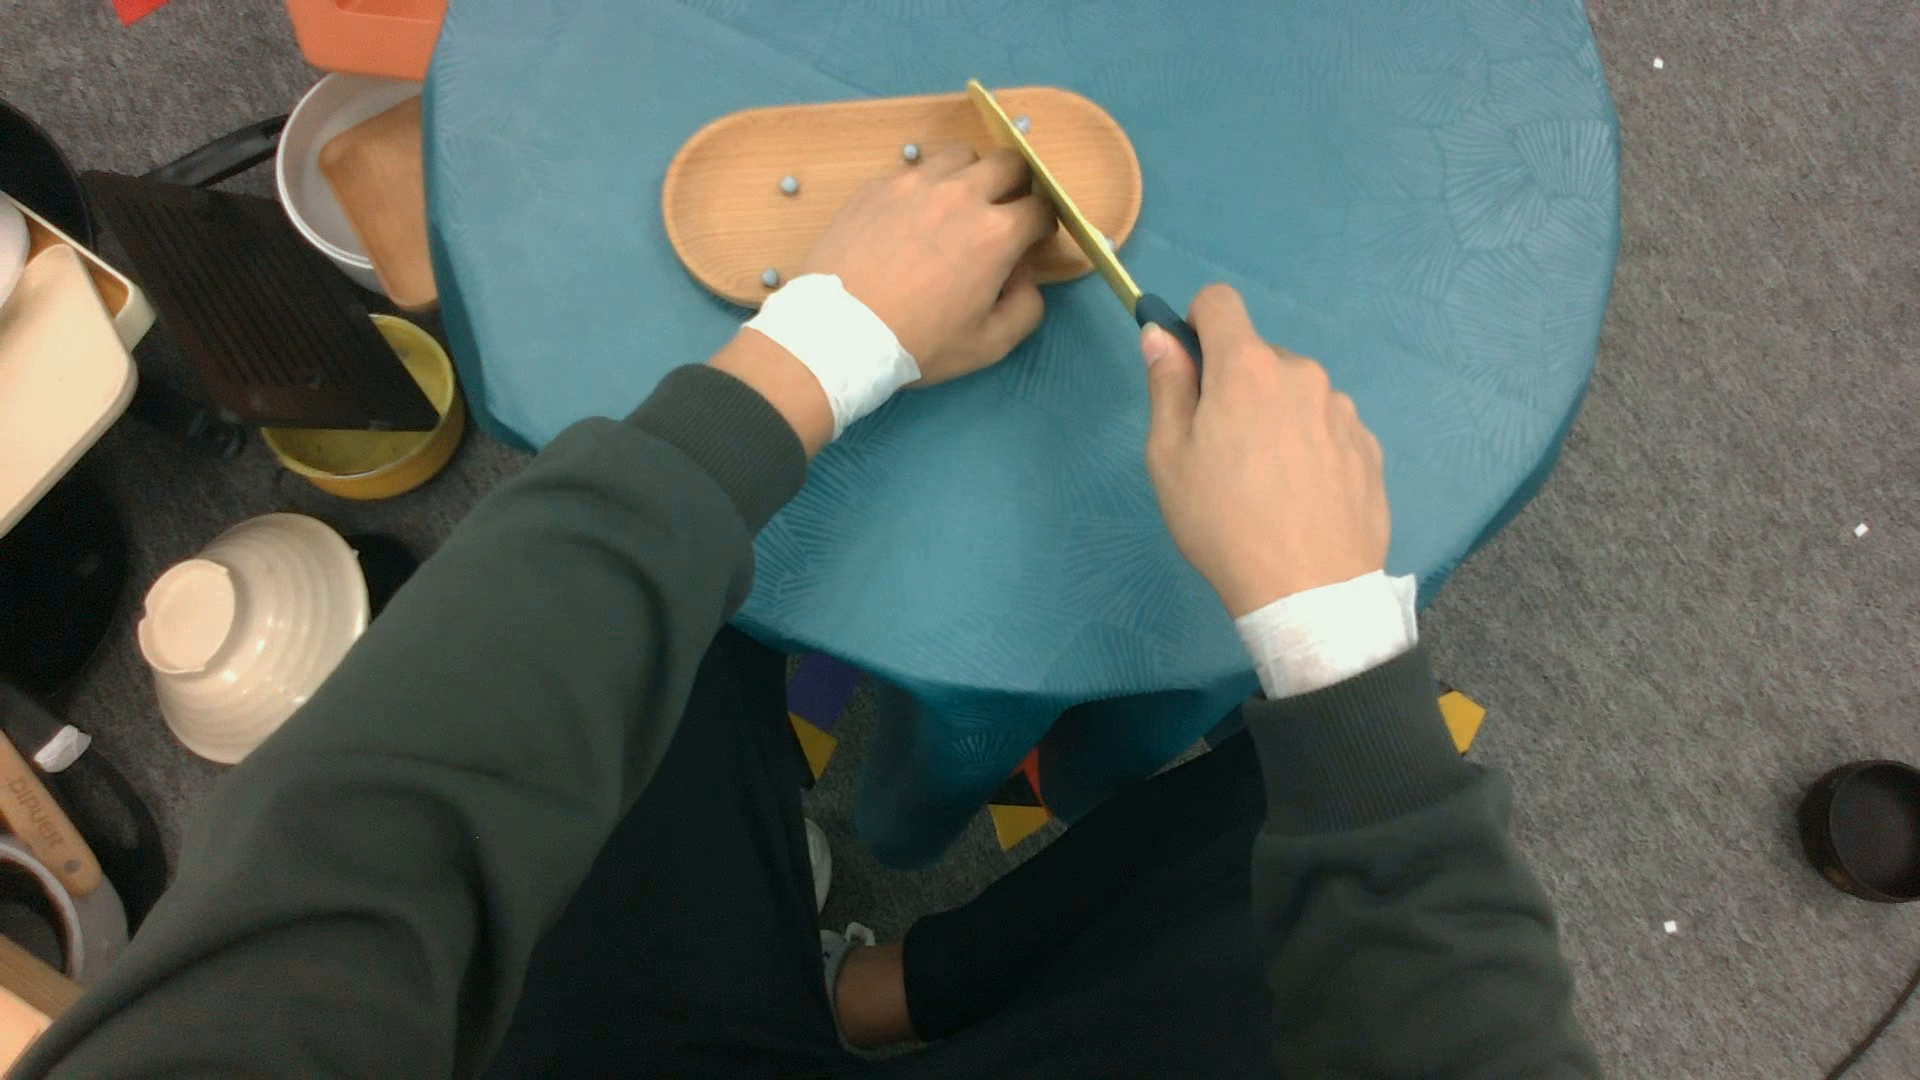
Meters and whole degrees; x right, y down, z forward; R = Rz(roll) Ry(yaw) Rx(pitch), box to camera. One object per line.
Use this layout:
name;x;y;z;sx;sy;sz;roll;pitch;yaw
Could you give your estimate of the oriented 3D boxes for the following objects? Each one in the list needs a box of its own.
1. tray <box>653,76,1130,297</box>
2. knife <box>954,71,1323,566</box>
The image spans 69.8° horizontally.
tray;-0.031;-0.172;0.669;0.231;0.020;0.102;-7;78;-9
knife;0.070;-0.106;0.608;0.027;0.081;0.290;-35;70;9
